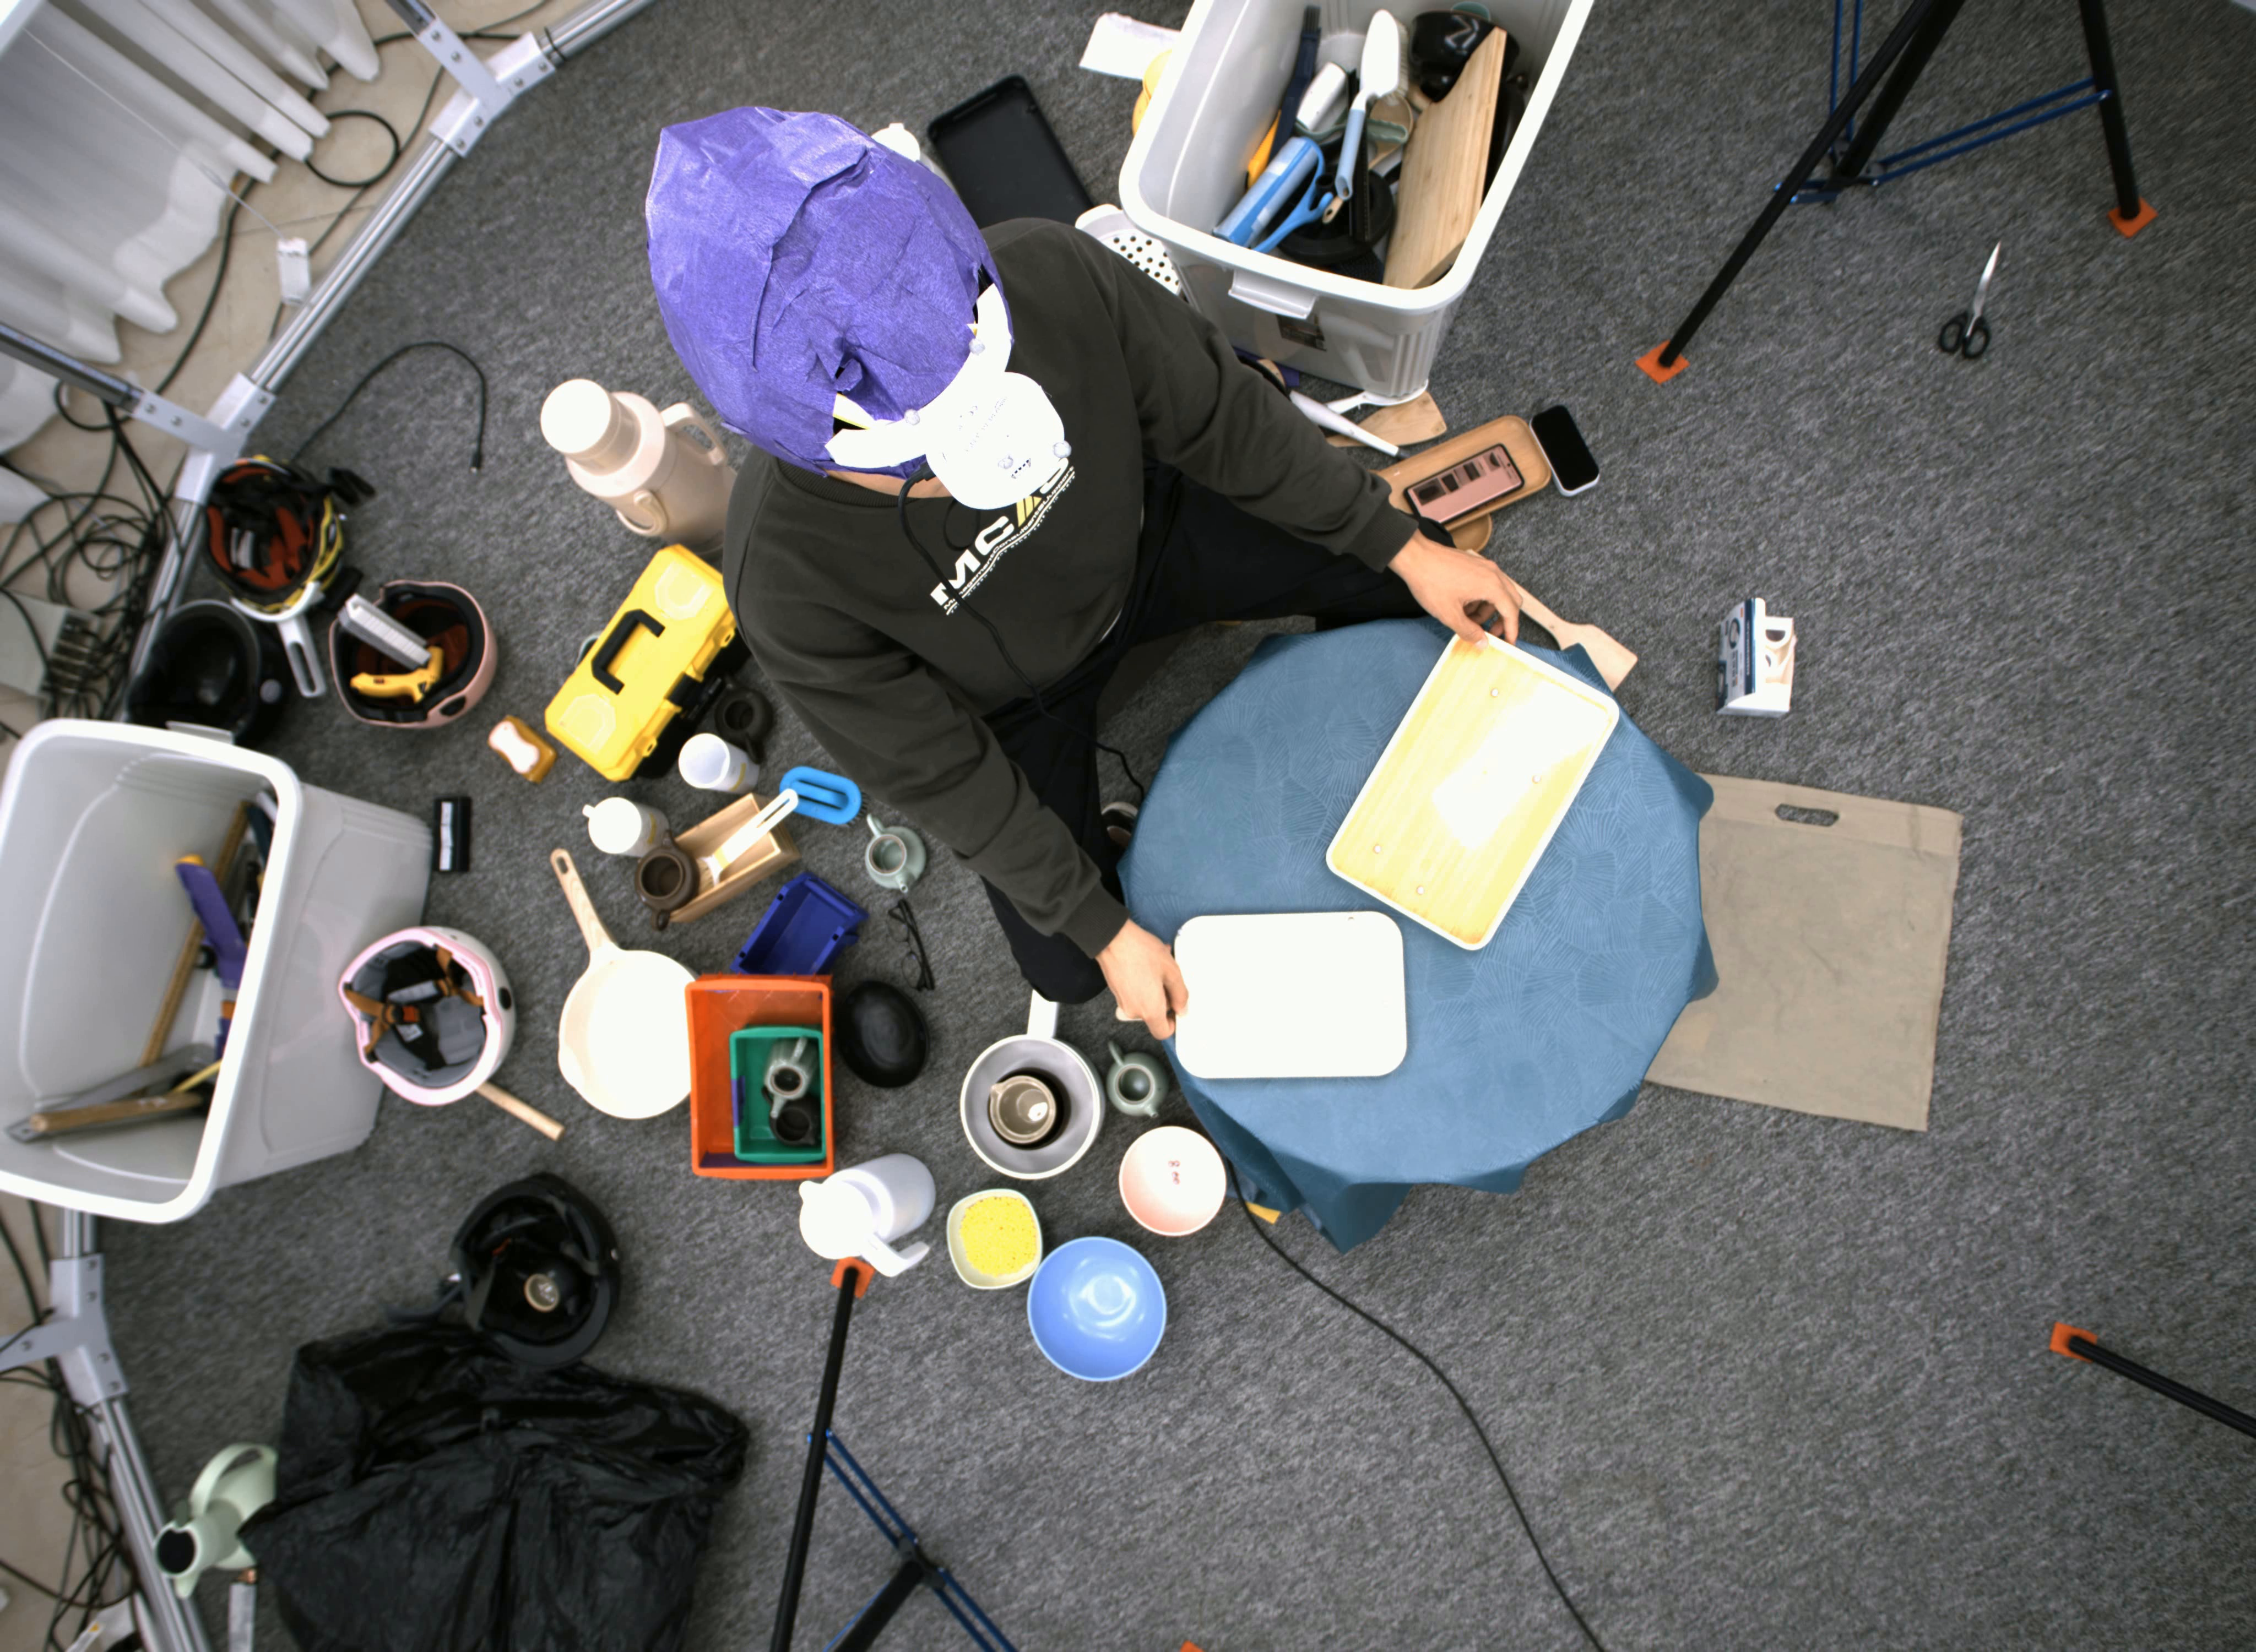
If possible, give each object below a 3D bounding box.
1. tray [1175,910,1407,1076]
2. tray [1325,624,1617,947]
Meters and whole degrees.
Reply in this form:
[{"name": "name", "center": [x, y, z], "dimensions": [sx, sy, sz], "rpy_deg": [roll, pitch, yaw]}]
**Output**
[{"name": "tray", "center": [0.170, 0.175, 1.459], "dimensions": [0.240, 0.017, 0.170], "rpy_deg": [-2, 85, 9]}, {"name": "tray", "center": [0.357, -0.045, 1.437], "dimensions": [0.191, 0.027, 0.300], "rpy_deg": [31, 92, 11]}]
